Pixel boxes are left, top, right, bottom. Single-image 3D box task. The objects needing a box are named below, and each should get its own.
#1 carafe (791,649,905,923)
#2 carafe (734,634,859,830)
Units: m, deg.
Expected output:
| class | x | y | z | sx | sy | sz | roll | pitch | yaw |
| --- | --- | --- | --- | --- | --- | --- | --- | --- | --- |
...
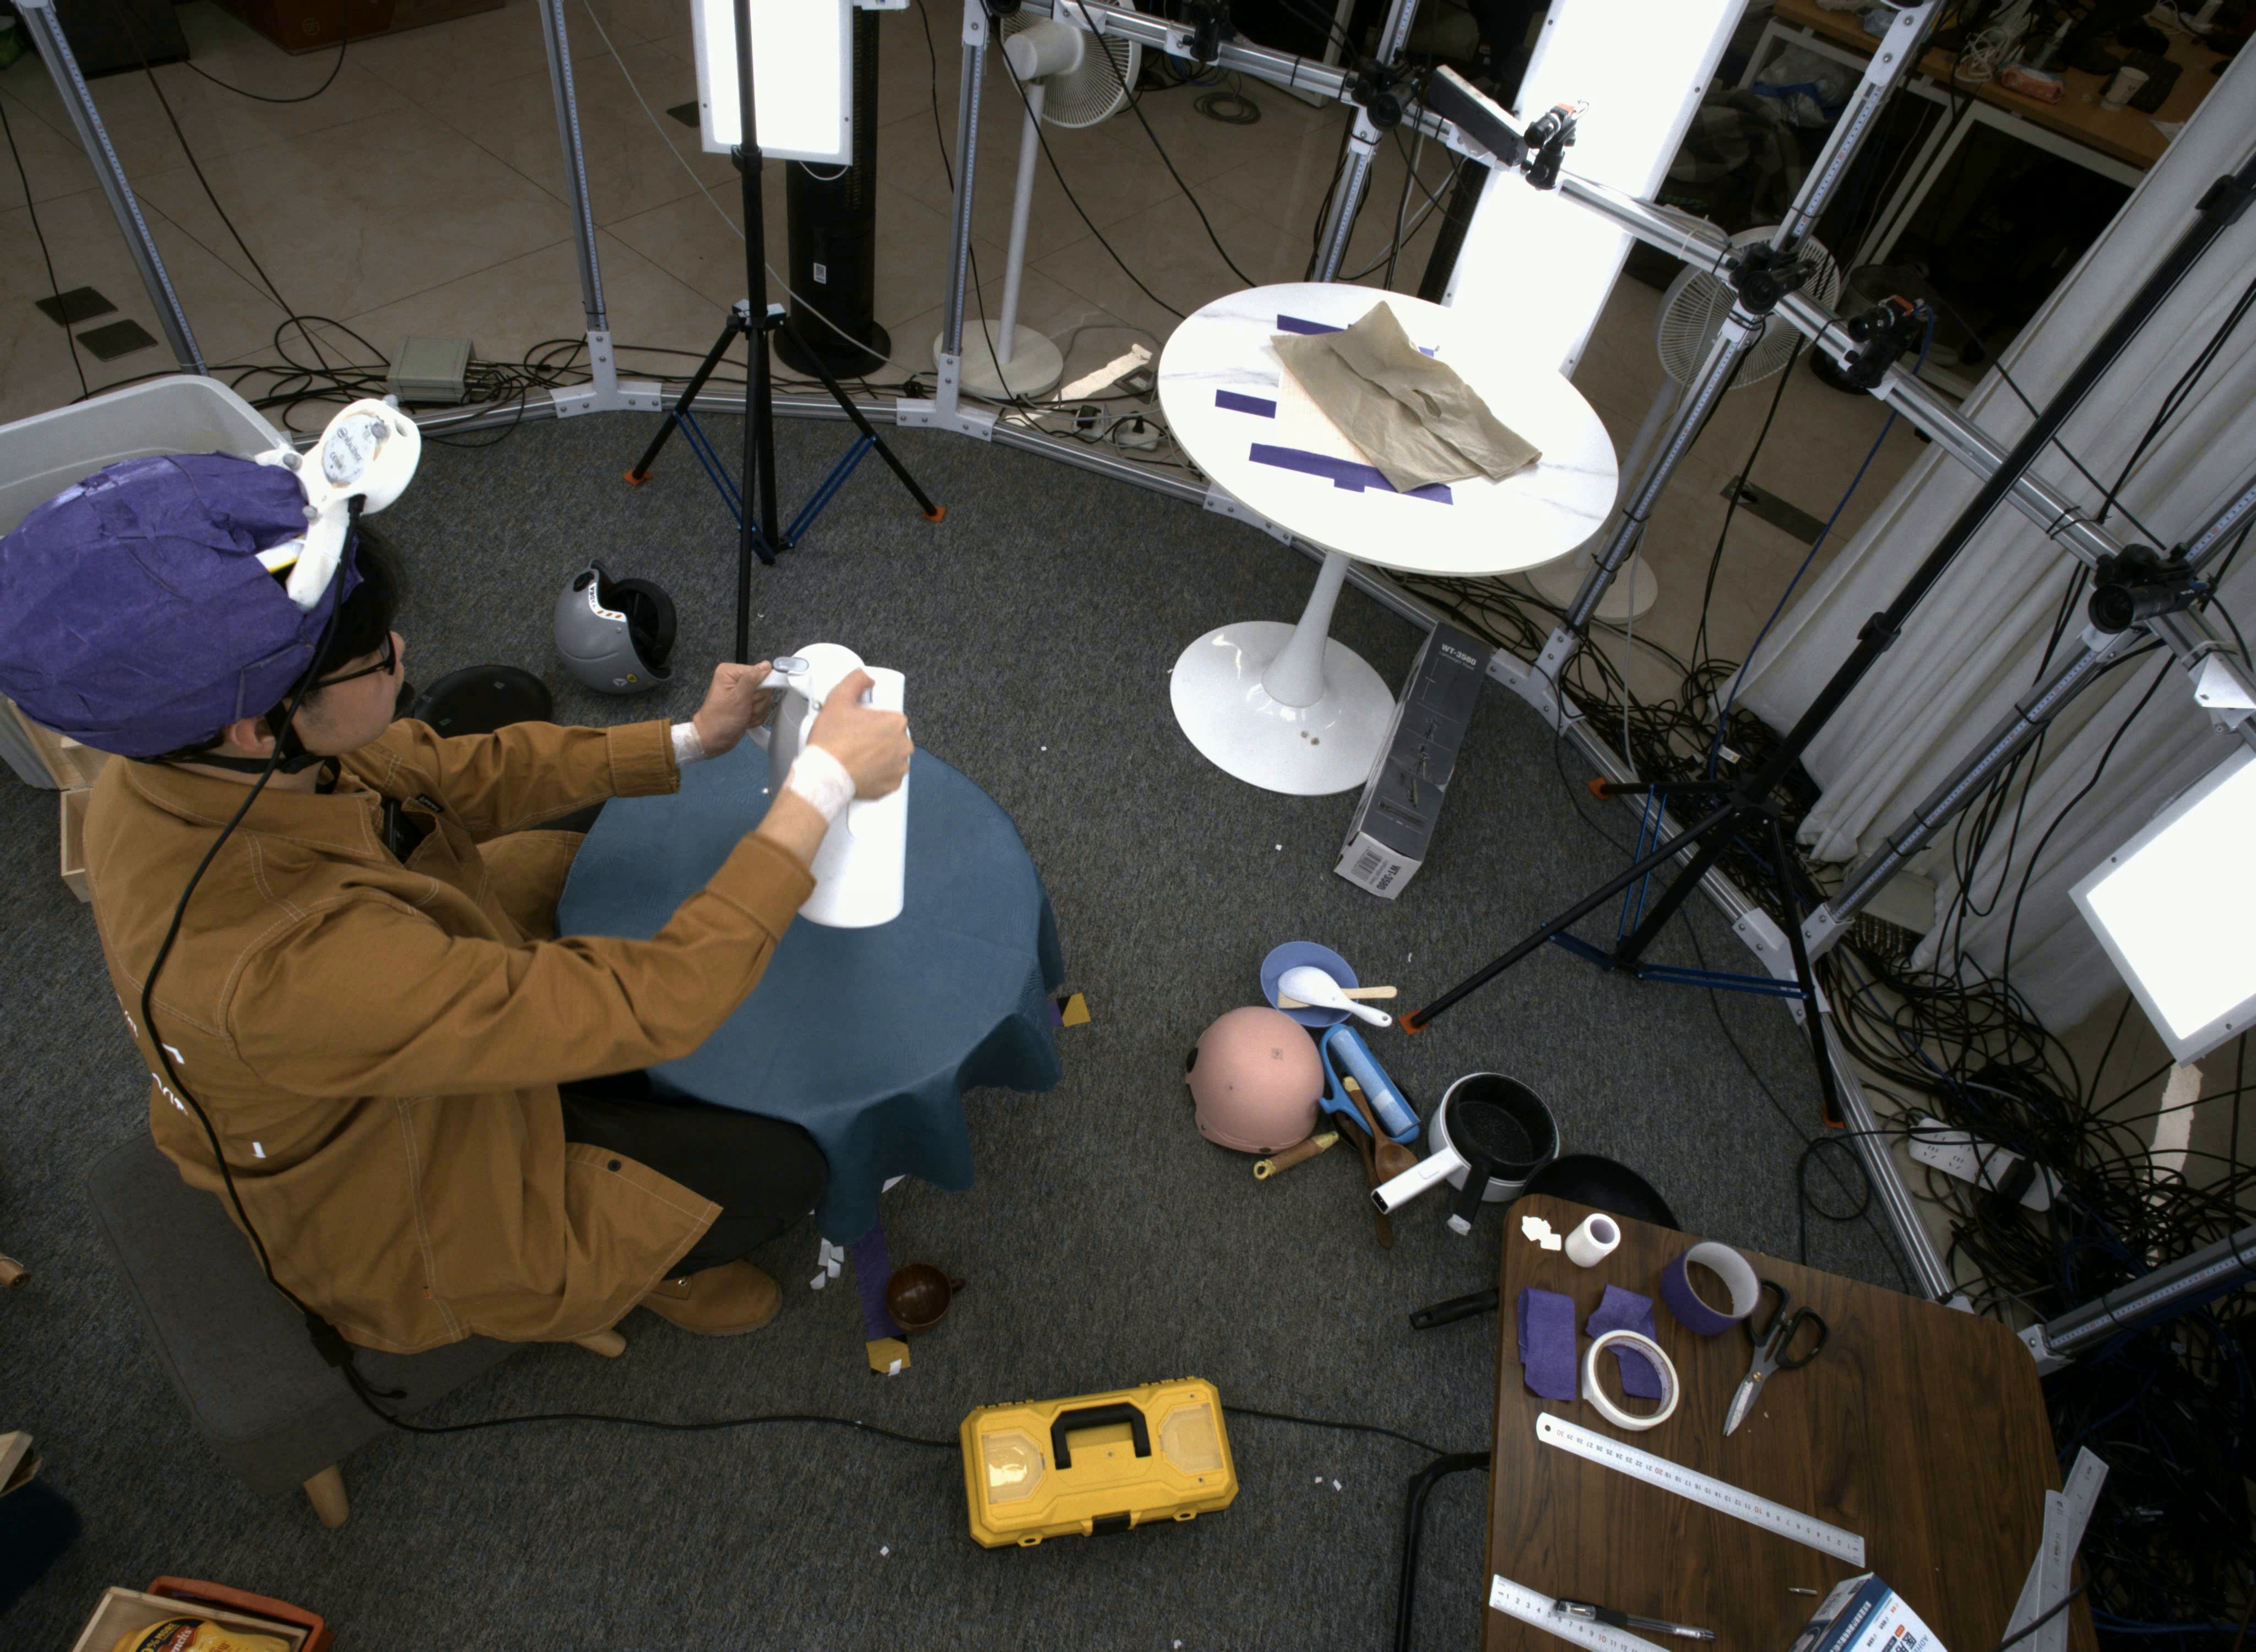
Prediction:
| class | x | y | z | sx | sy | sz | roll | pitch | yaw |
| --- | --- | --- | --- | --- | --- | --- | --- | --- | --- |
| carafe | -0.288 | -0.038 | 1.351 | 0.125 | 0.275 | 0.167 | 1 | 17 | -19 |
| carafe | -0.392 | -0.119 | 1.568 | 0.167 | 0.253 | 0.130 | 10 | 54 | -7 |
